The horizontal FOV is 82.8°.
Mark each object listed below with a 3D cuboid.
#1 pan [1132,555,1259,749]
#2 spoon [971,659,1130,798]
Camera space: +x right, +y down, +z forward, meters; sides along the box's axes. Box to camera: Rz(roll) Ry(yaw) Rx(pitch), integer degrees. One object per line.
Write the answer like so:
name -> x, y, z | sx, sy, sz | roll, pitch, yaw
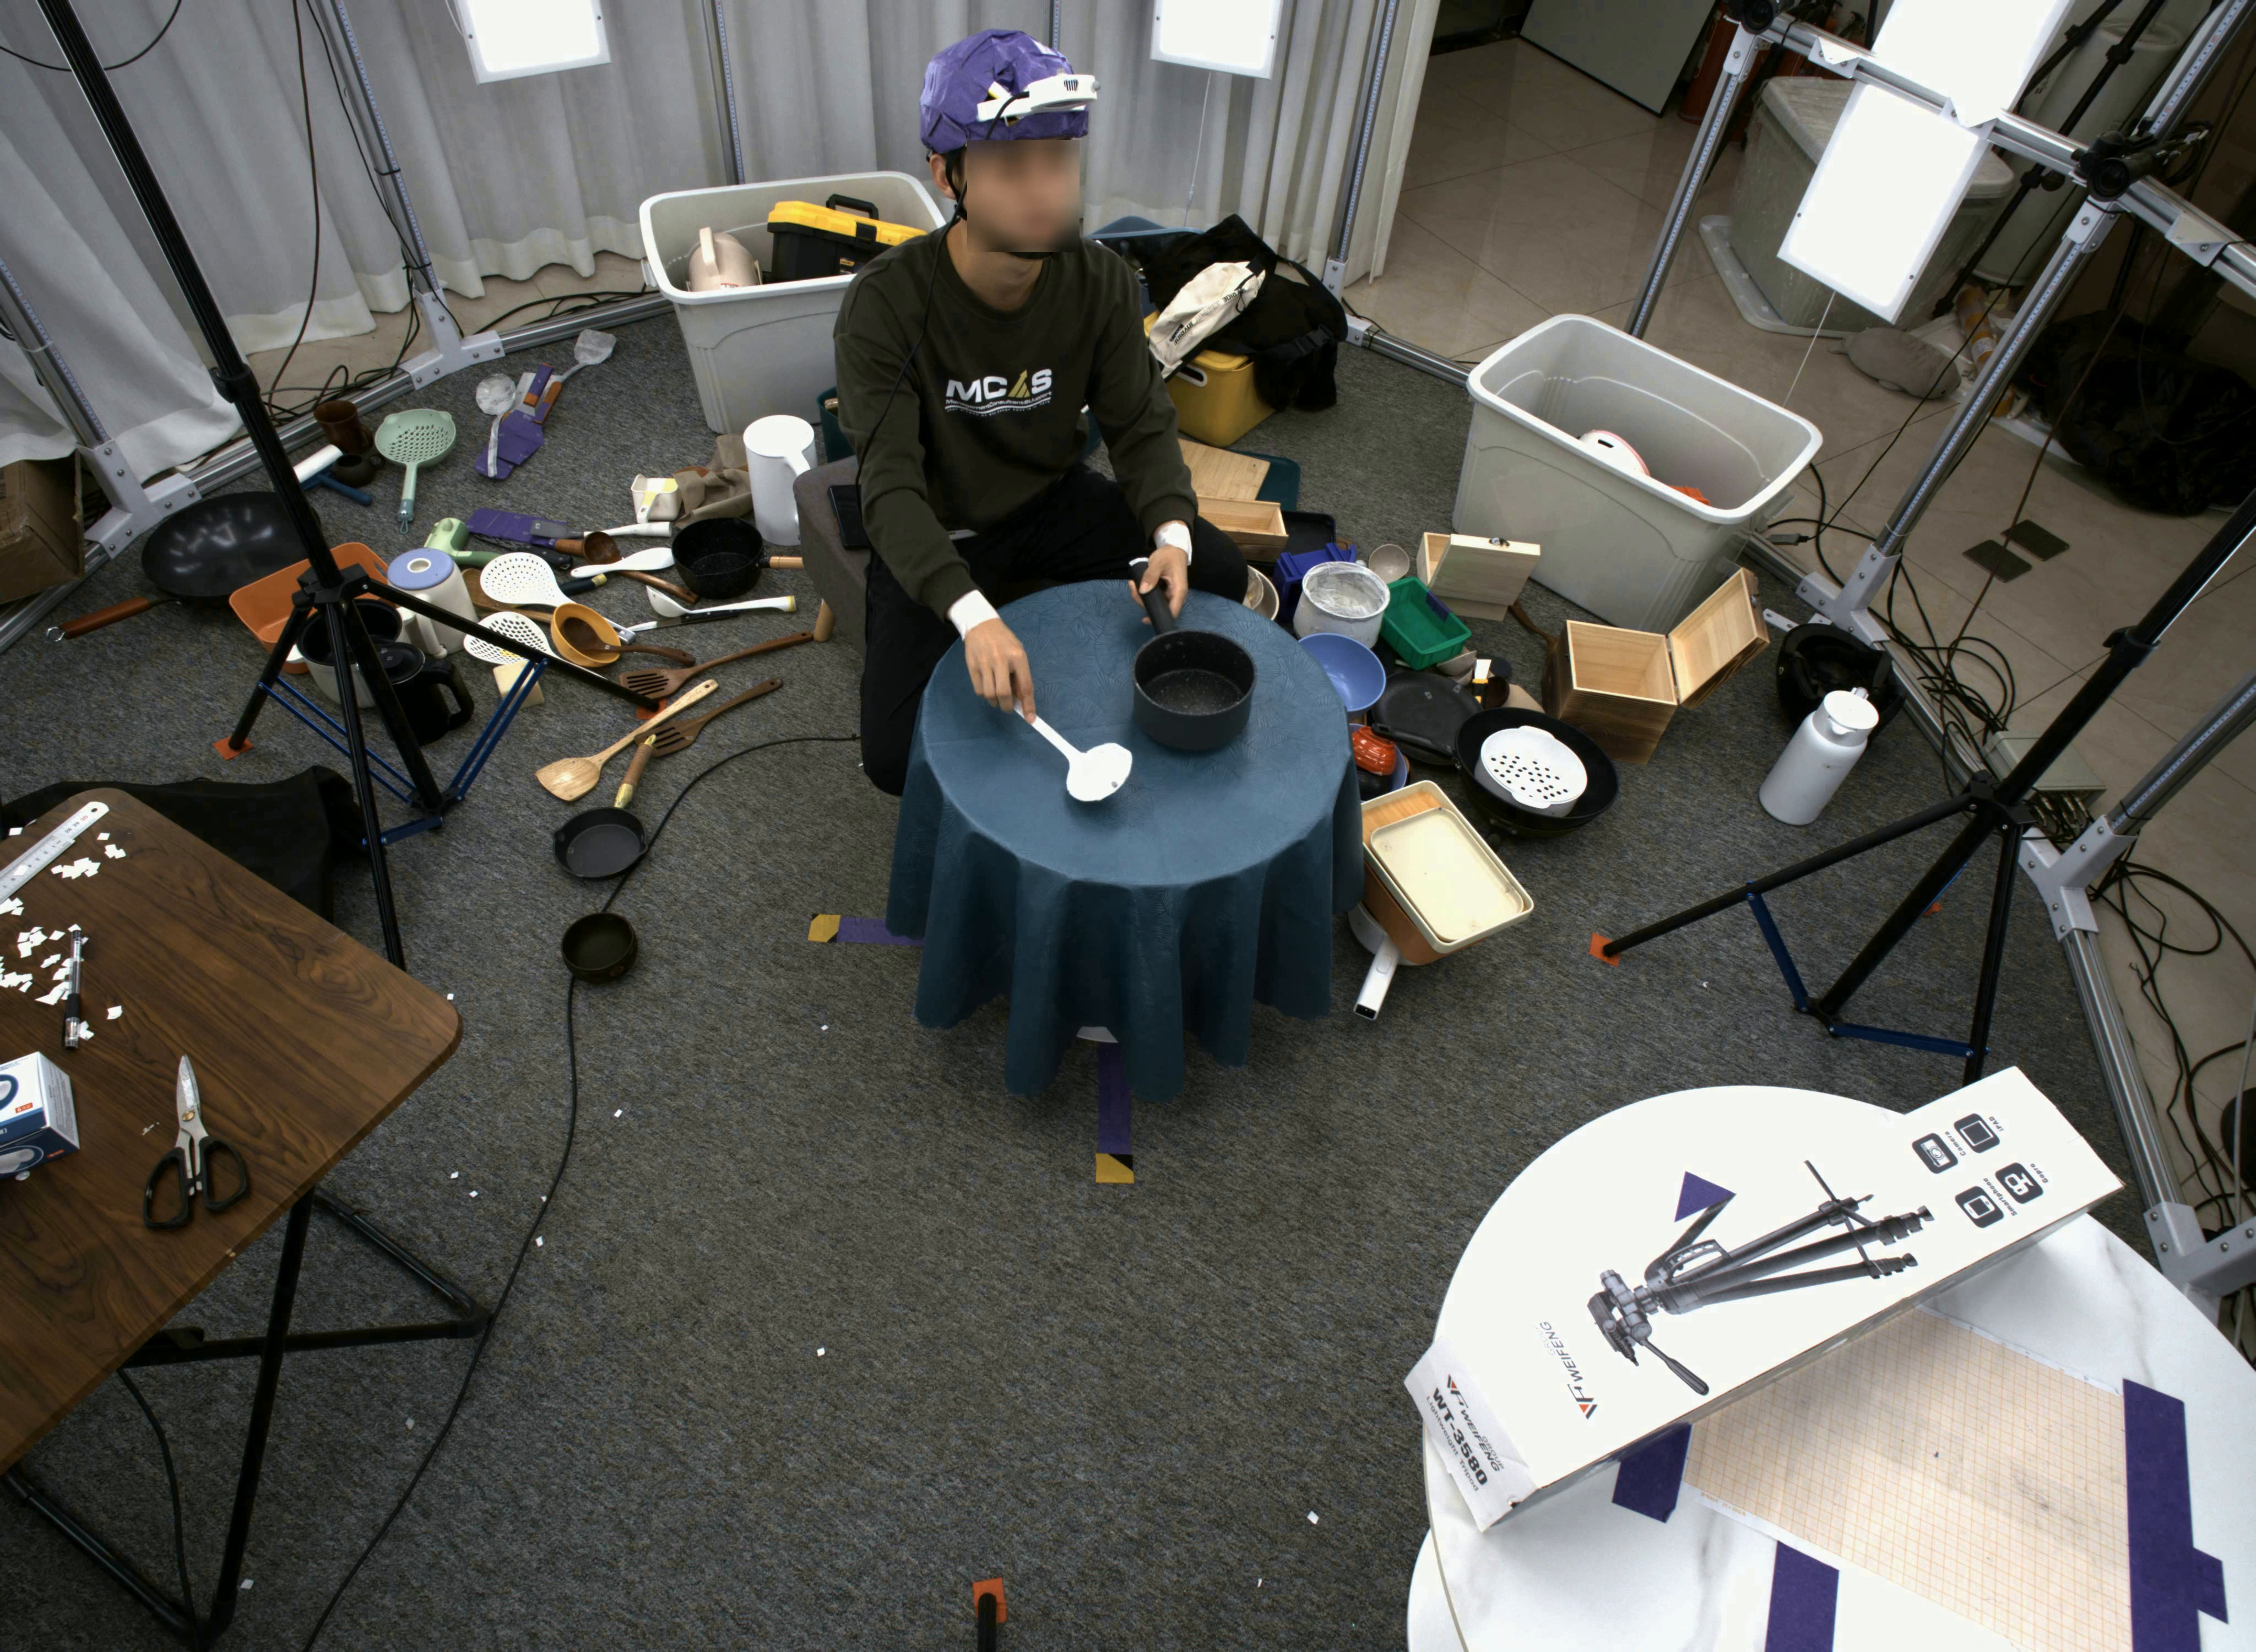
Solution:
pan -> 0.070, -0.248, 1.817 | 0.172, 0.084, 0.337 | -11, 50, -10
spoon -> -0.108, -0.143, 1.703 | 0.101, 0.058, 0.280 | -43, 77, -15
